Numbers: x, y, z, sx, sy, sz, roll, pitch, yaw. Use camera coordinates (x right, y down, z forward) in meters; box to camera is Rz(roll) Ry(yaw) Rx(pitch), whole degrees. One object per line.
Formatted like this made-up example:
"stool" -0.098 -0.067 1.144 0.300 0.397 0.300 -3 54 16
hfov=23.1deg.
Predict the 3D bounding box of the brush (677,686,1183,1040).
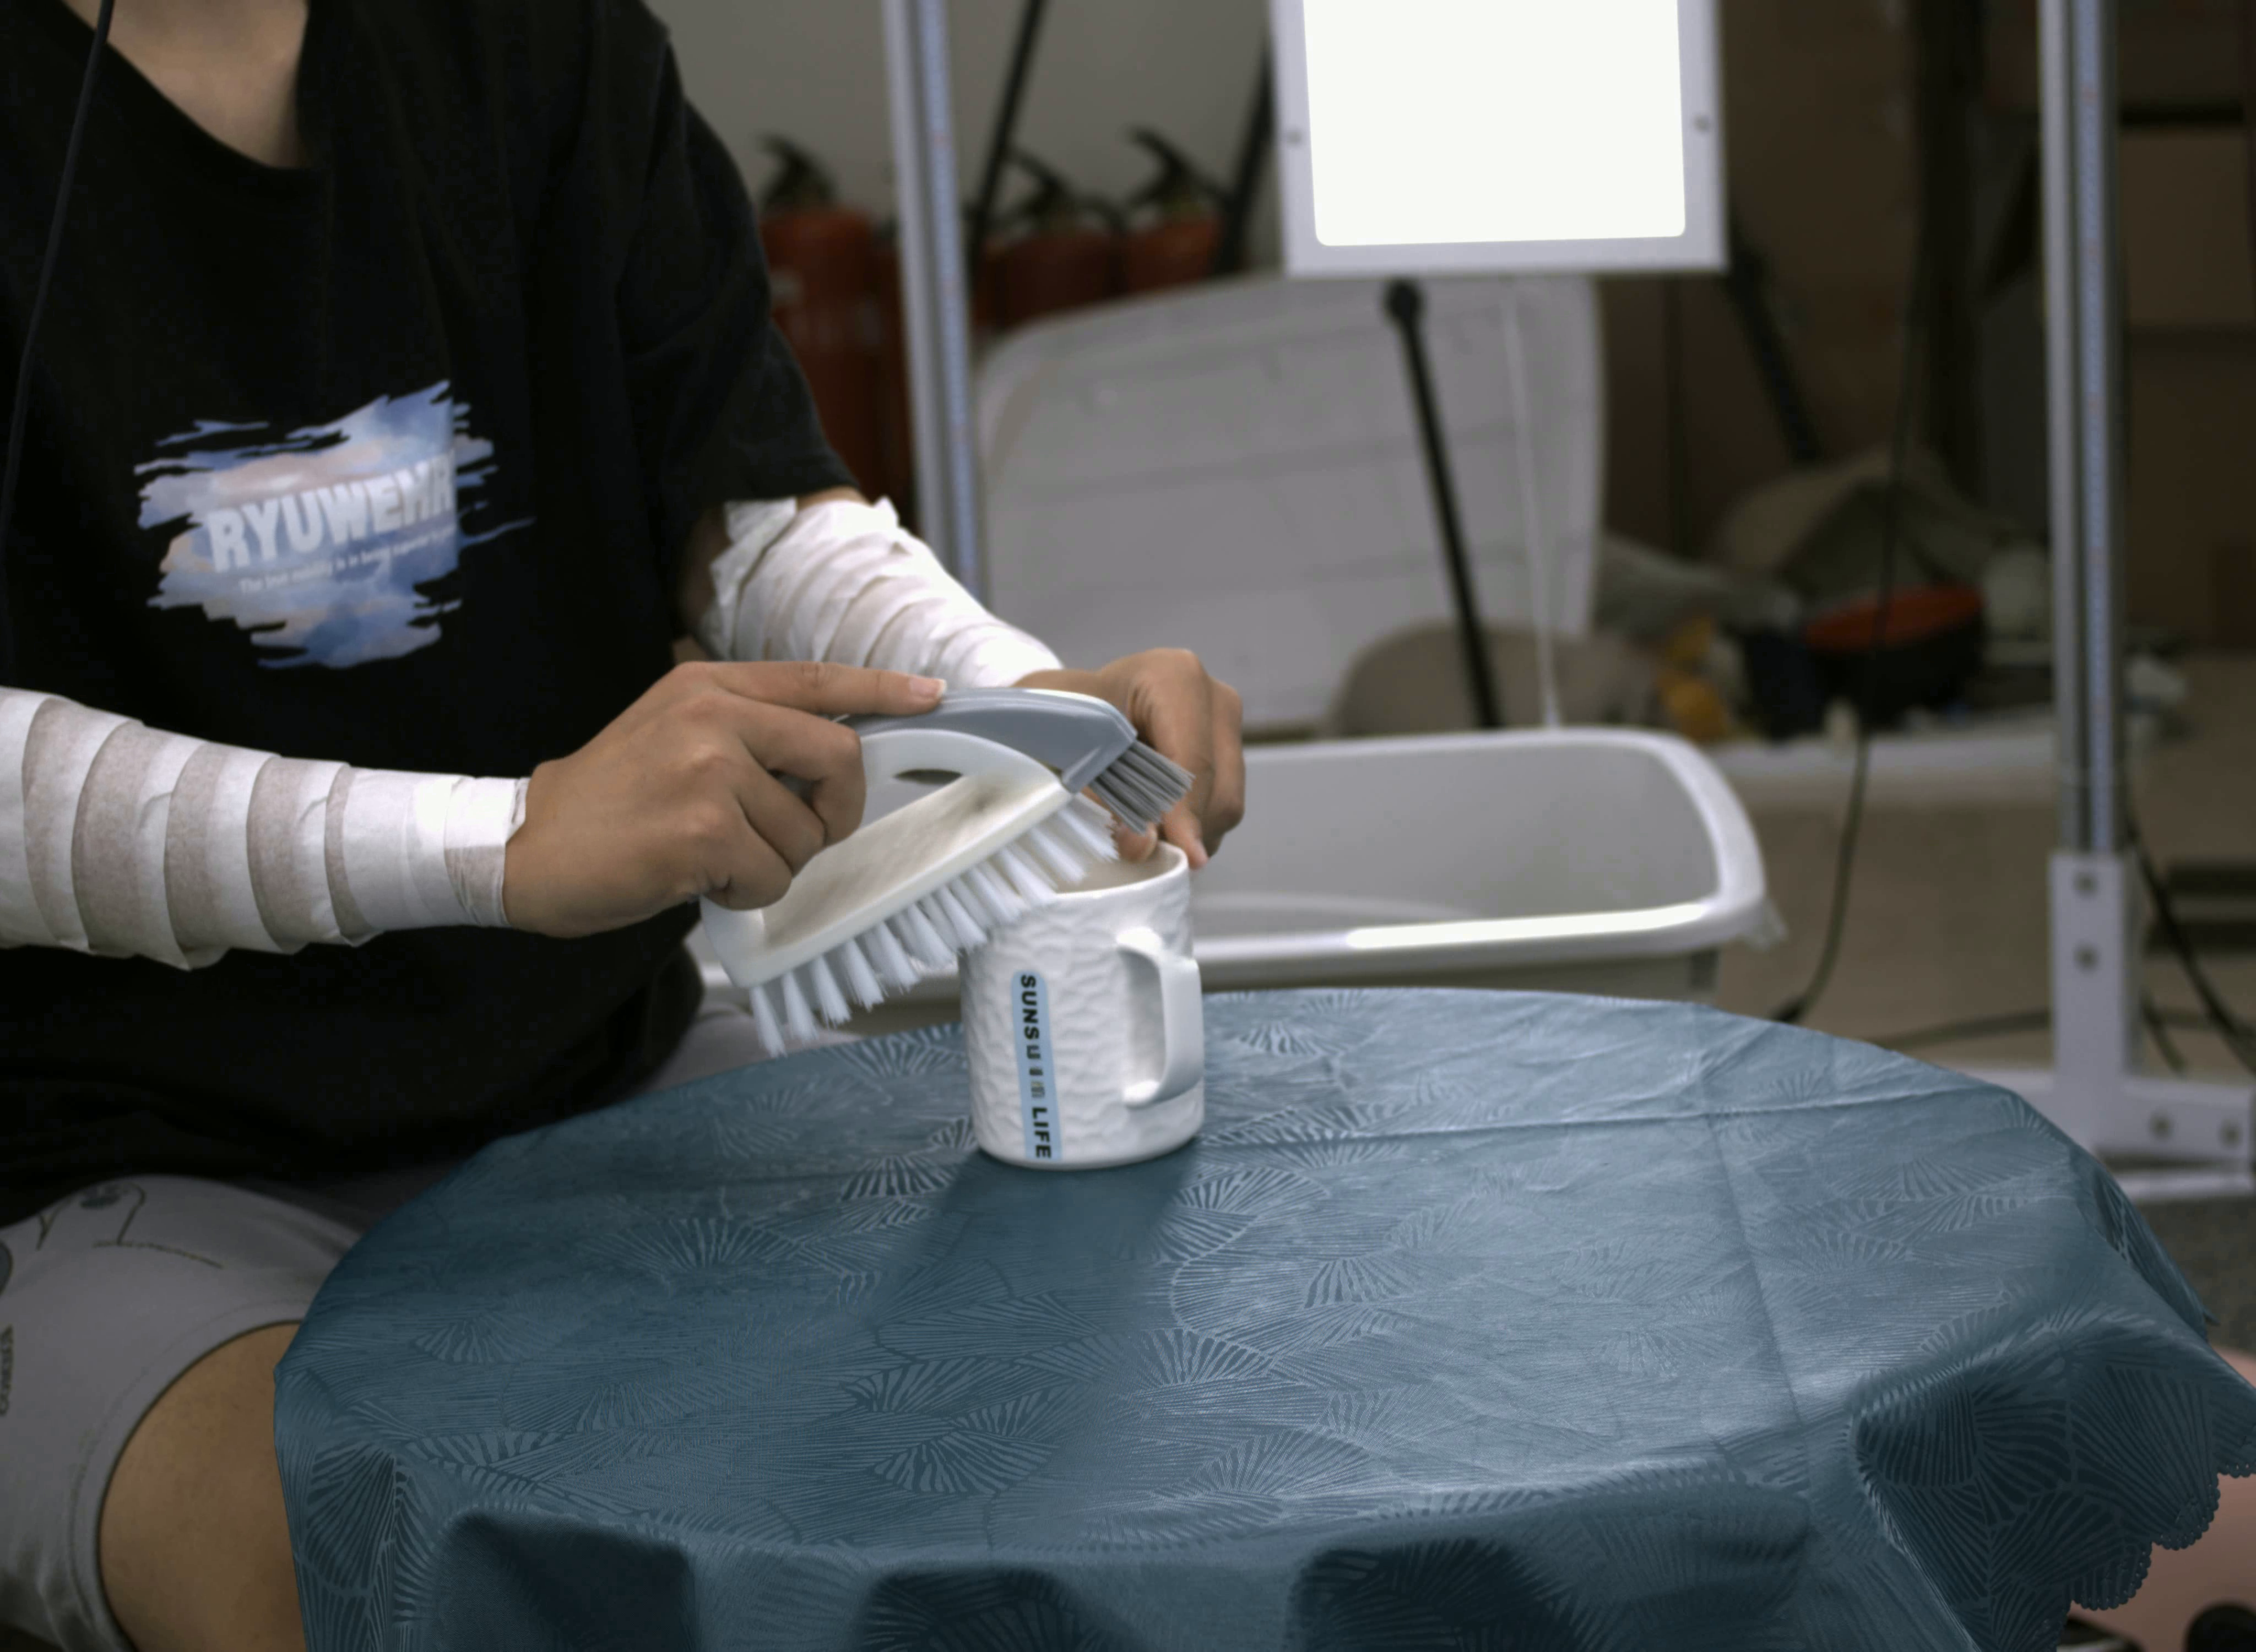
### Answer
"brush" -0.075 -0.005 1.915 0.176 0.093 0.061 -26 31 9

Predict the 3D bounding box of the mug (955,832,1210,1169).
"mug" -0.008 0.064 1.938 0.083 0.102 0.120 -13 17 -30
